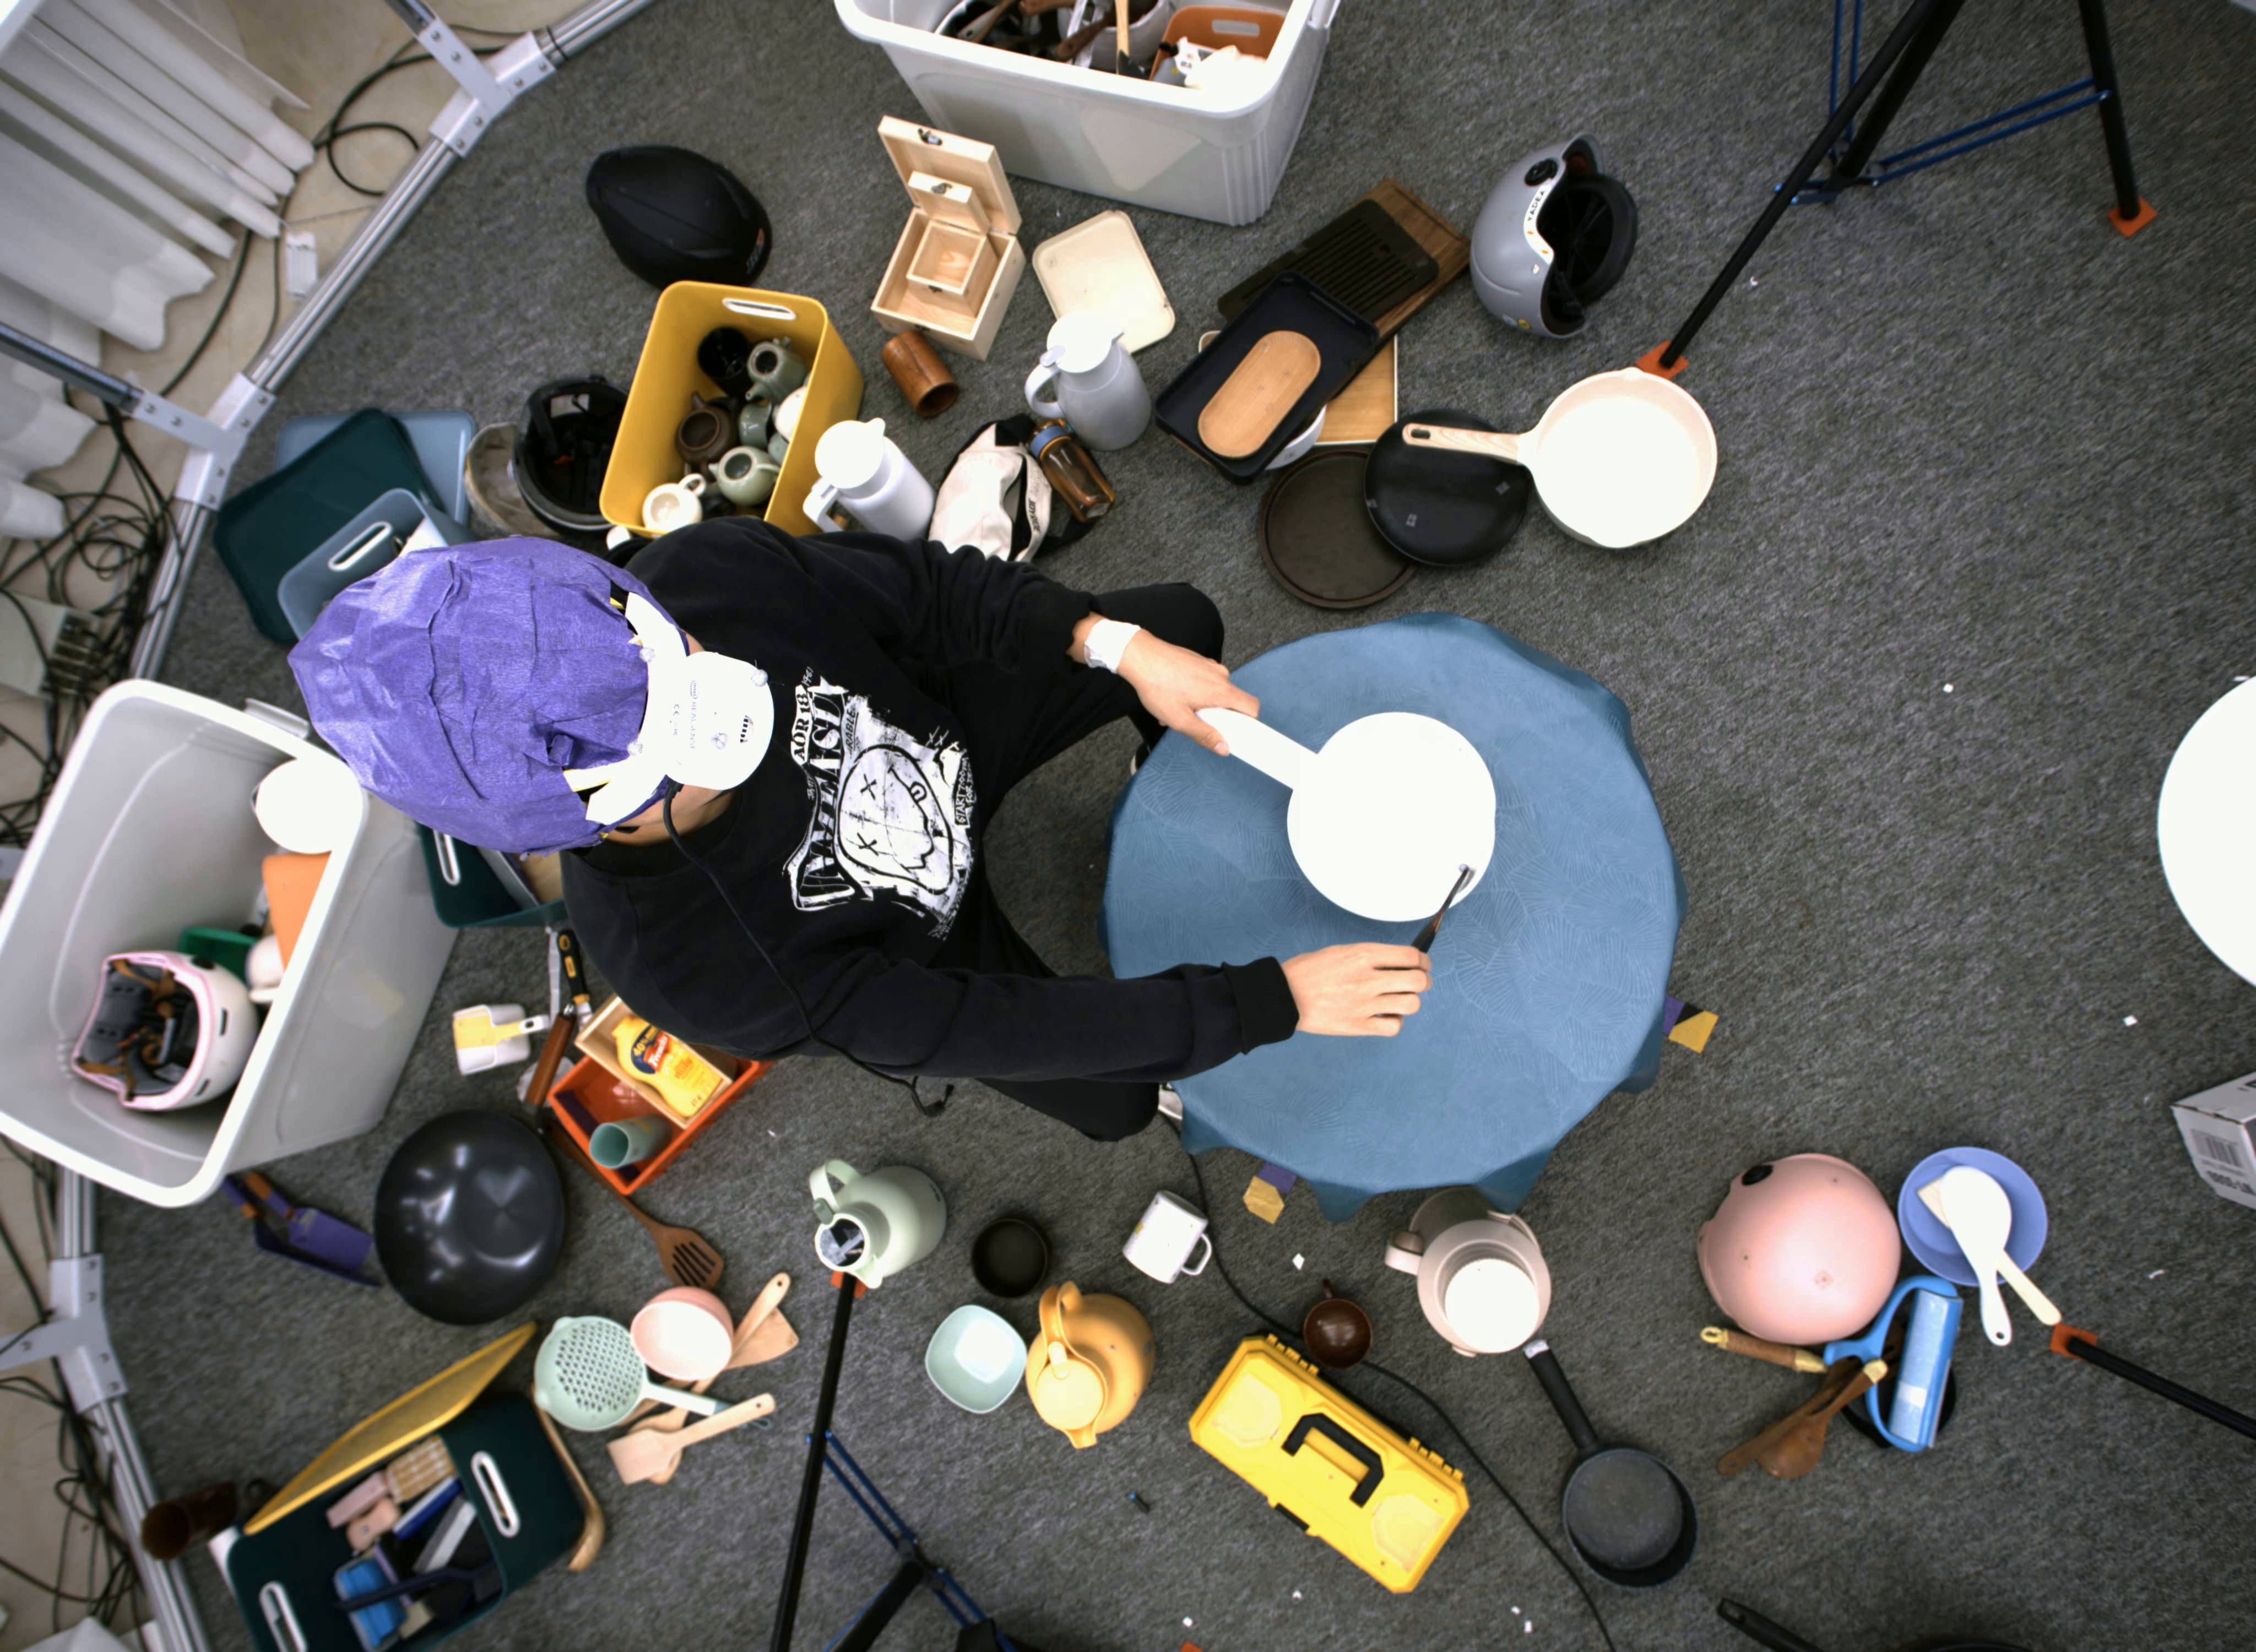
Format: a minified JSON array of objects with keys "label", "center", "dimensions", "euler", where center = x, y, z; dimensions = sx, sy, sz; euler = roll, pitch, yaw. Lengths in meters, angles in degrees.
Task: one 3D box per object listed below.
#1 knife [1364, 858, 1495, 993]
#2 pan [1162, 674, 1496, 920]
[{"label":"knife","center":[0.287,0.086,1.298],"dimensions":[0.026,0.018,0.221],"euler":[36,54,19]},{"label":"pan","center":[0.204,-0.055,1.394],"dimensions":[0.354,0.100,0.206],"euler":[31,123,5]}]
